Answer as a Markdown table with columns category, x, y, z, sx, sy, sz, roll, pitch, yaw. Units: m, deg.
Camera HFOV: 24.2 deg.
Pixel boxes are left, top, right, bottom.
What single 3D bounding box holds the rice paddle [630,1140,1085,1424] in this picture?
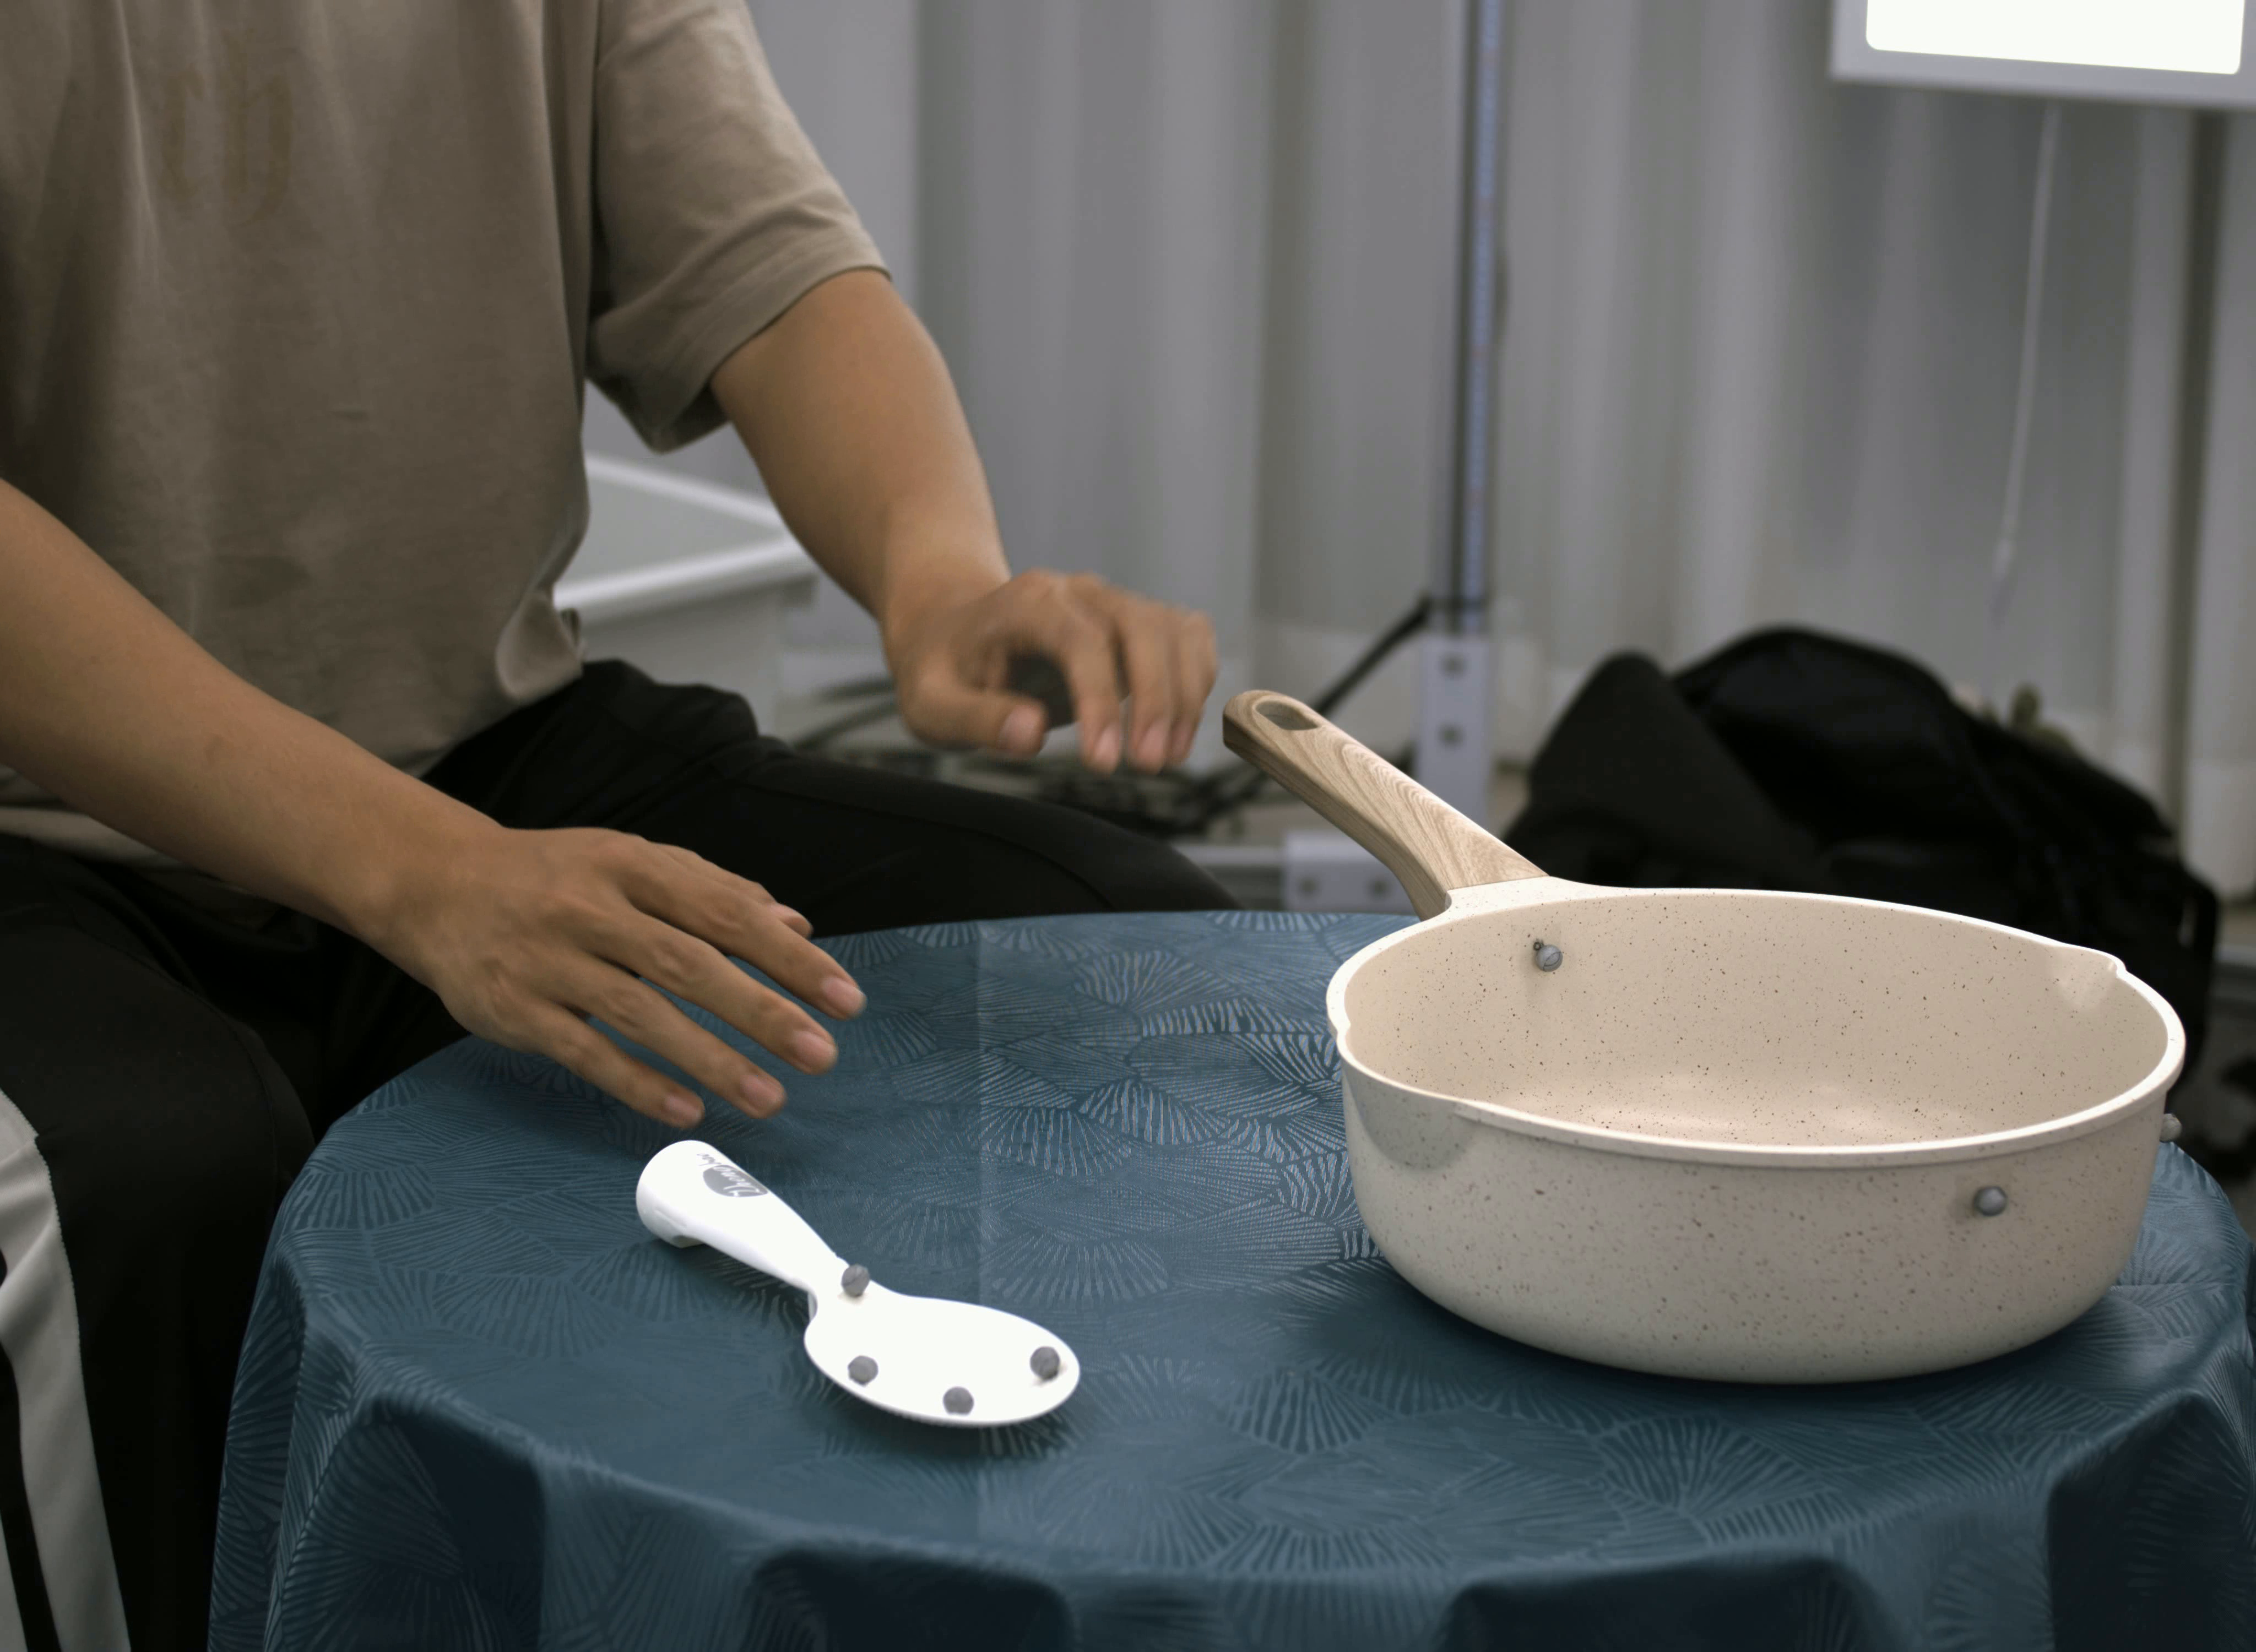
| category | x | y | z | sx | sy | sz | roll | pitch | yaw |
| --- | --- | --- | --- | --- | --- | --- | --- | --- | --- |
| rice paddle | -0.081 | 0.131 | 1.496 | 0.069 | 0.029 | 0.202 | -11 | 20 | -31 |

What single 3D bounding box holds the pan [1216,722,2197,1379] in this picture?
| category | x | y | z | sx | sy | sz | roll | pitch | yaw |
| --- | --- | --- | --- | --- | --- | --- | --- | --- | --- |
| pan | 0.145 | 0.063 | 1.635 | 0.264 | 0.103 | 0.429 | -9 | 18 | -27 |
